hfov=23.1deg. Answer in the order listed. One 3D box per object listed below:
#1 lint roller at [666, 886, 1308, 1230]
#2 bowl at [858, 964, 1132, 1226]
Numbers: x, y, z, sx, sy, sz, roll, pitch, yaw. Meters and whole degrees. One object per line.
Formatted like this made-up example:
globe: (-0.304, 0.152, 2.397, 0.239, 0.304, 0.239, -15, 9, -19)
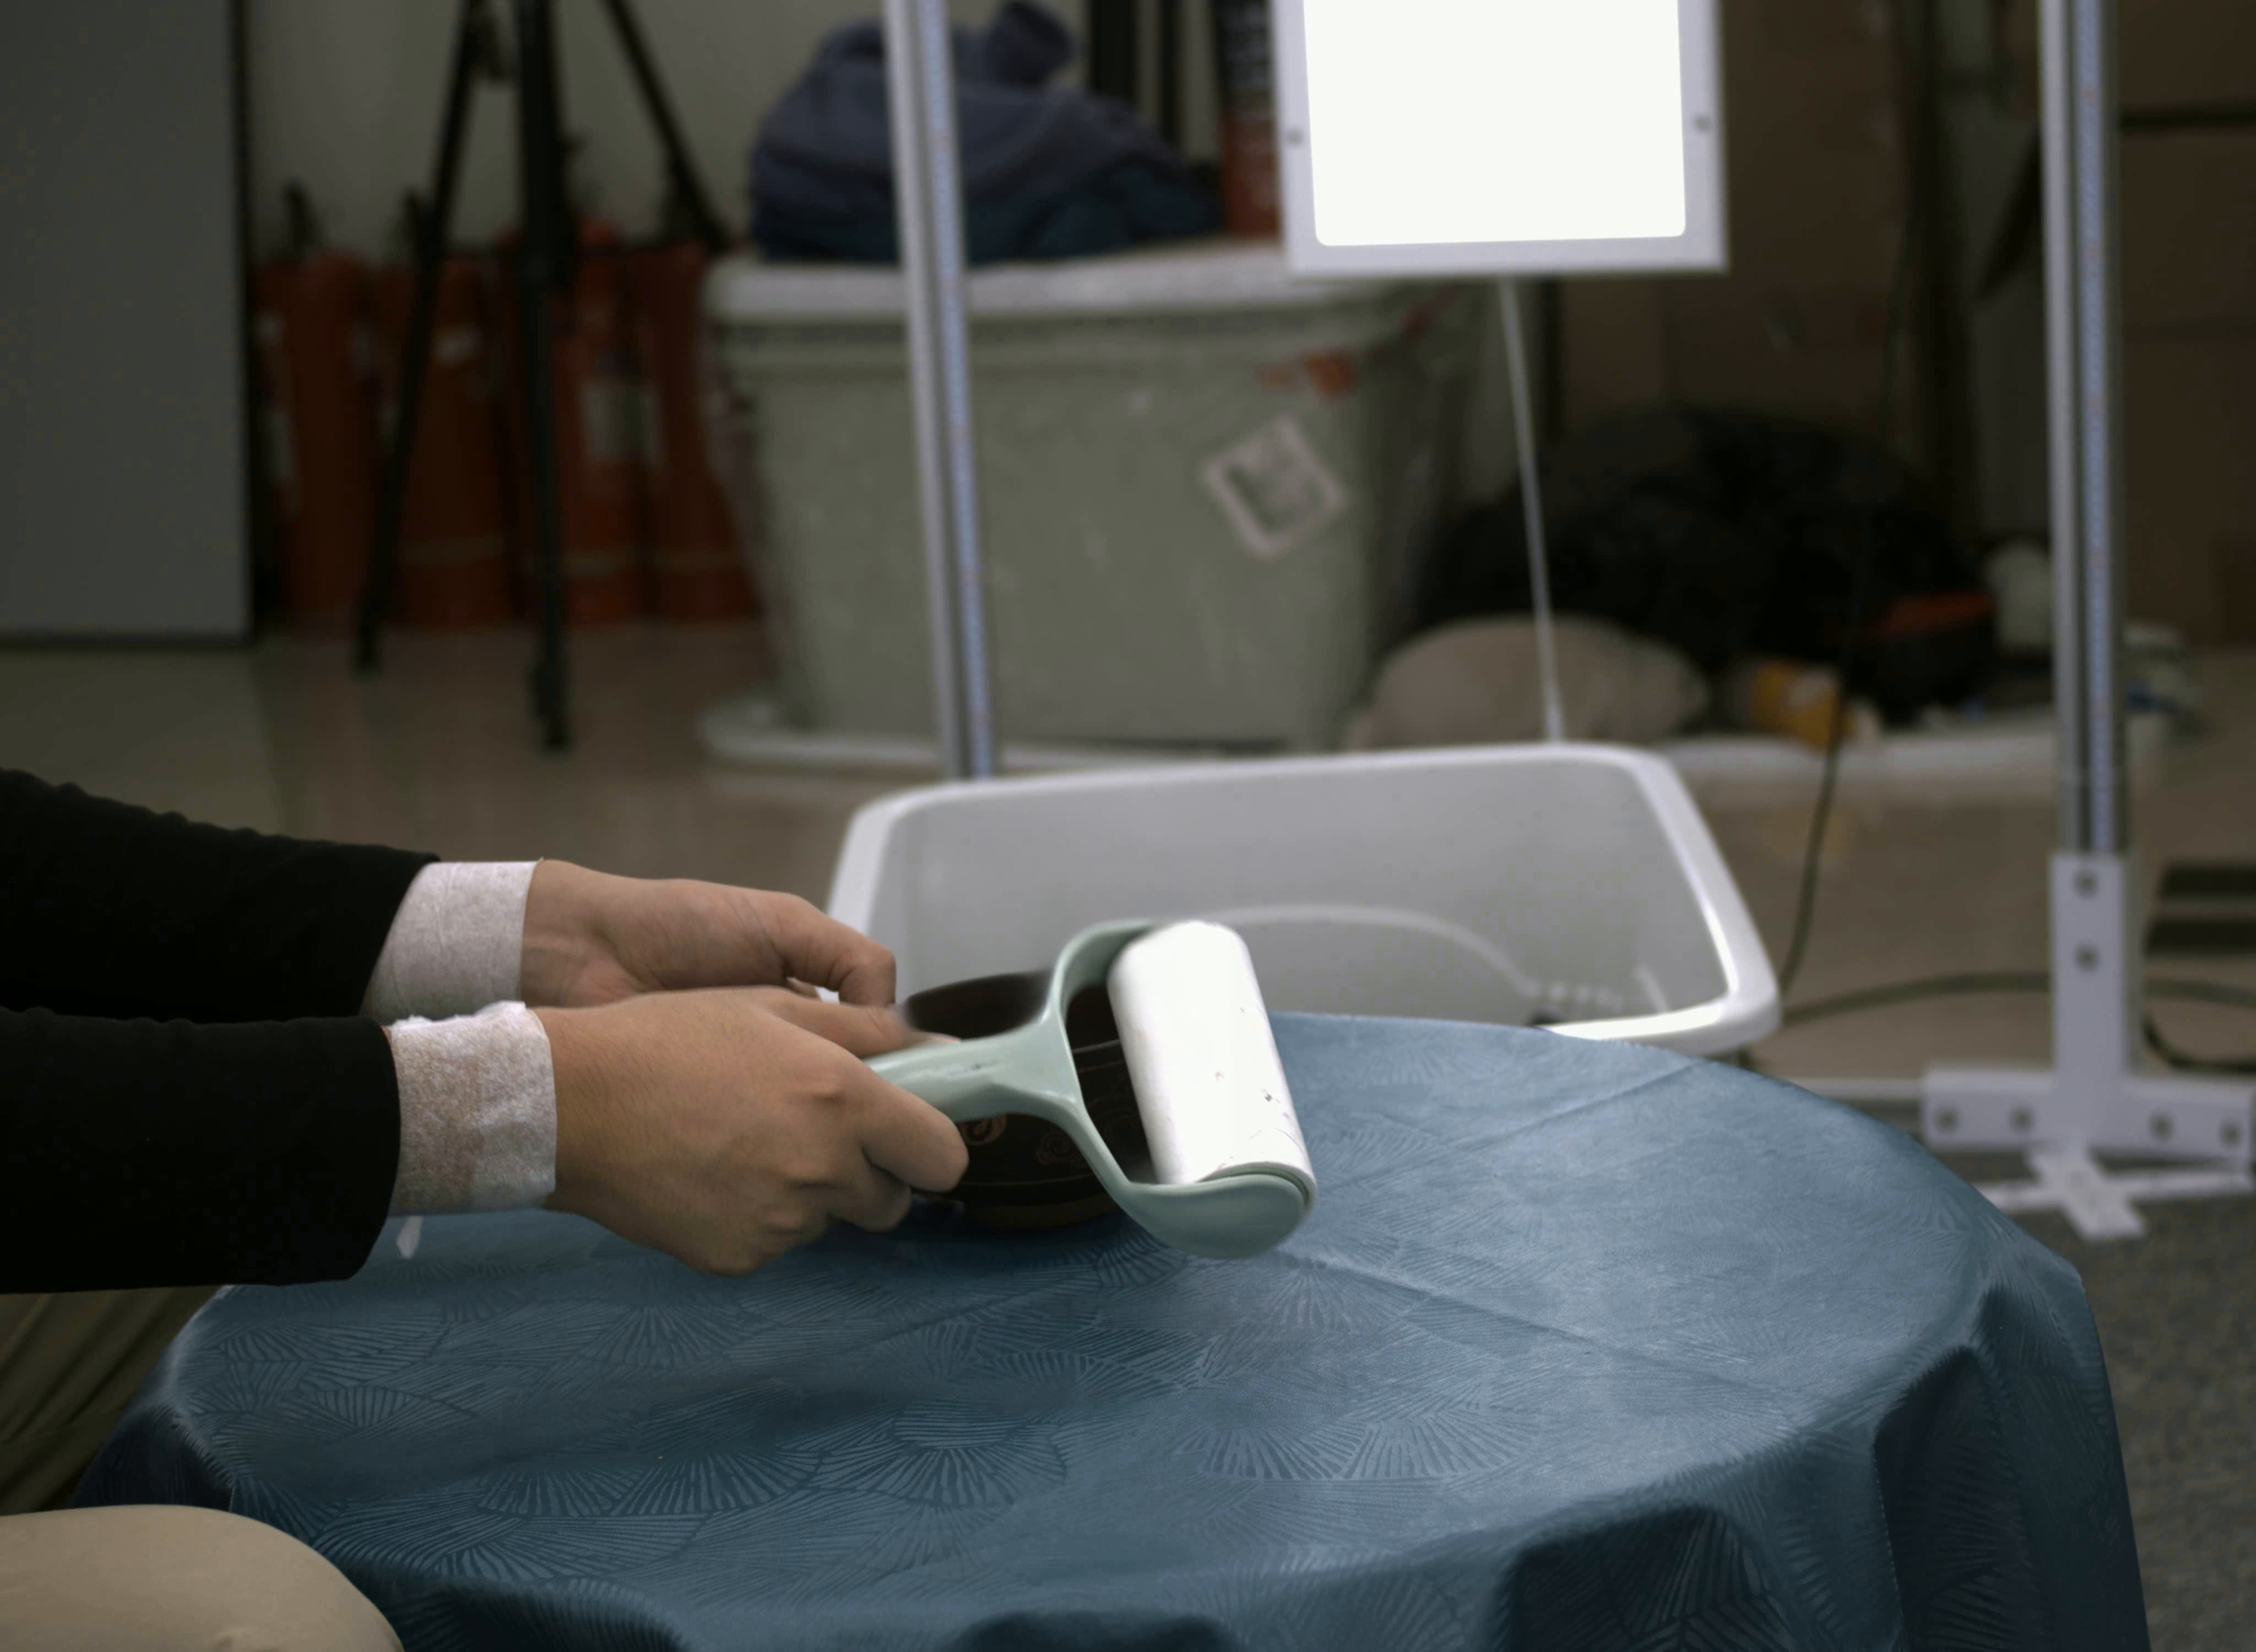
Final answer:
lint roller: (-0.049, 0.081, 1.742, 0.195, 0.049, 0.117, -6, 52, -10)
bowl: (-0.031, 0.095, 1.884, 0.118, 0.070, 0.118, -7, 14, 0)
